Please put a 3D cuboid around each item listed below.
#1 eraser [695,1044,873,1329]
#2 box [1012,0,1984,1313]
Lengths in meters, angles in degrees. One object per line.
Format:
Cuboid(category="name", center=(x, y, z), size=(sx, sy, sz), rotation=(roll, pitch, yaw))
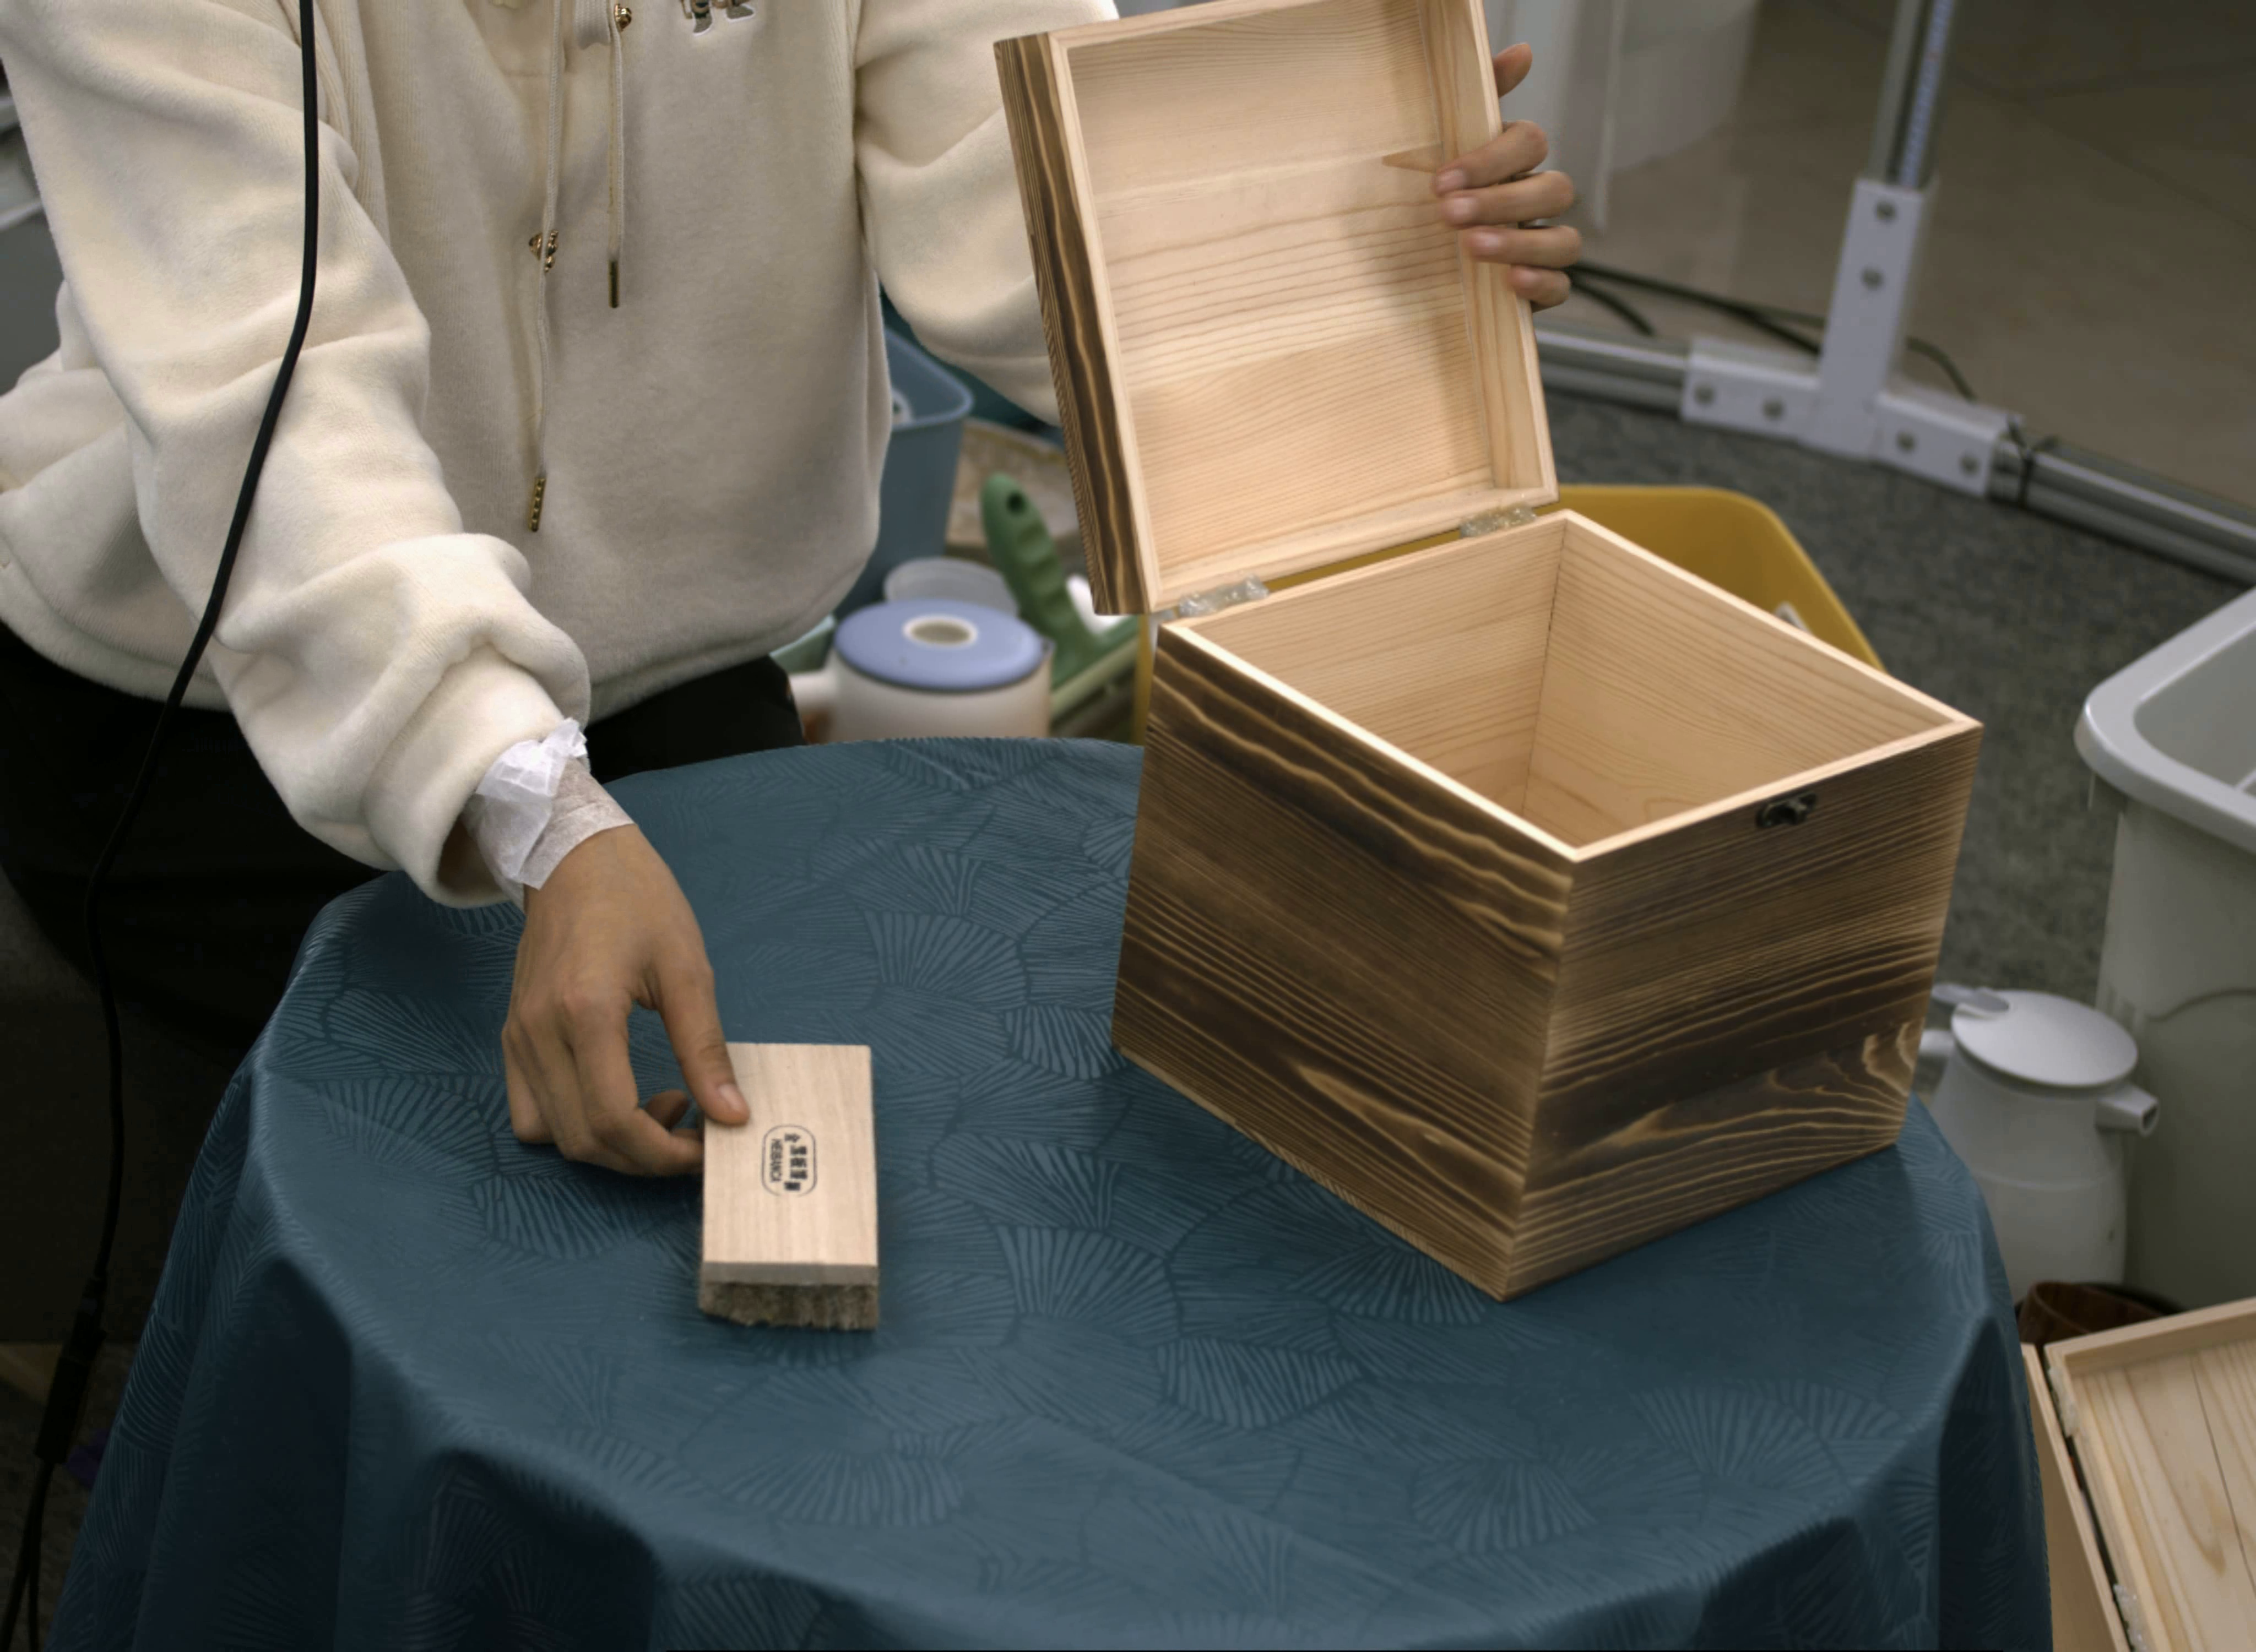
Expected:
Cuboid(category="eraser", center=(-0.113, 0.118, 1.756), size=(0.057, 0.029, 0.140), rotation=(2, 26, -4))
Cuboid(category="box", center=(0.117, -0.084, 1.836), size=(0.207, 0.374, 0.325), rotation=(-18, 36, -38))
